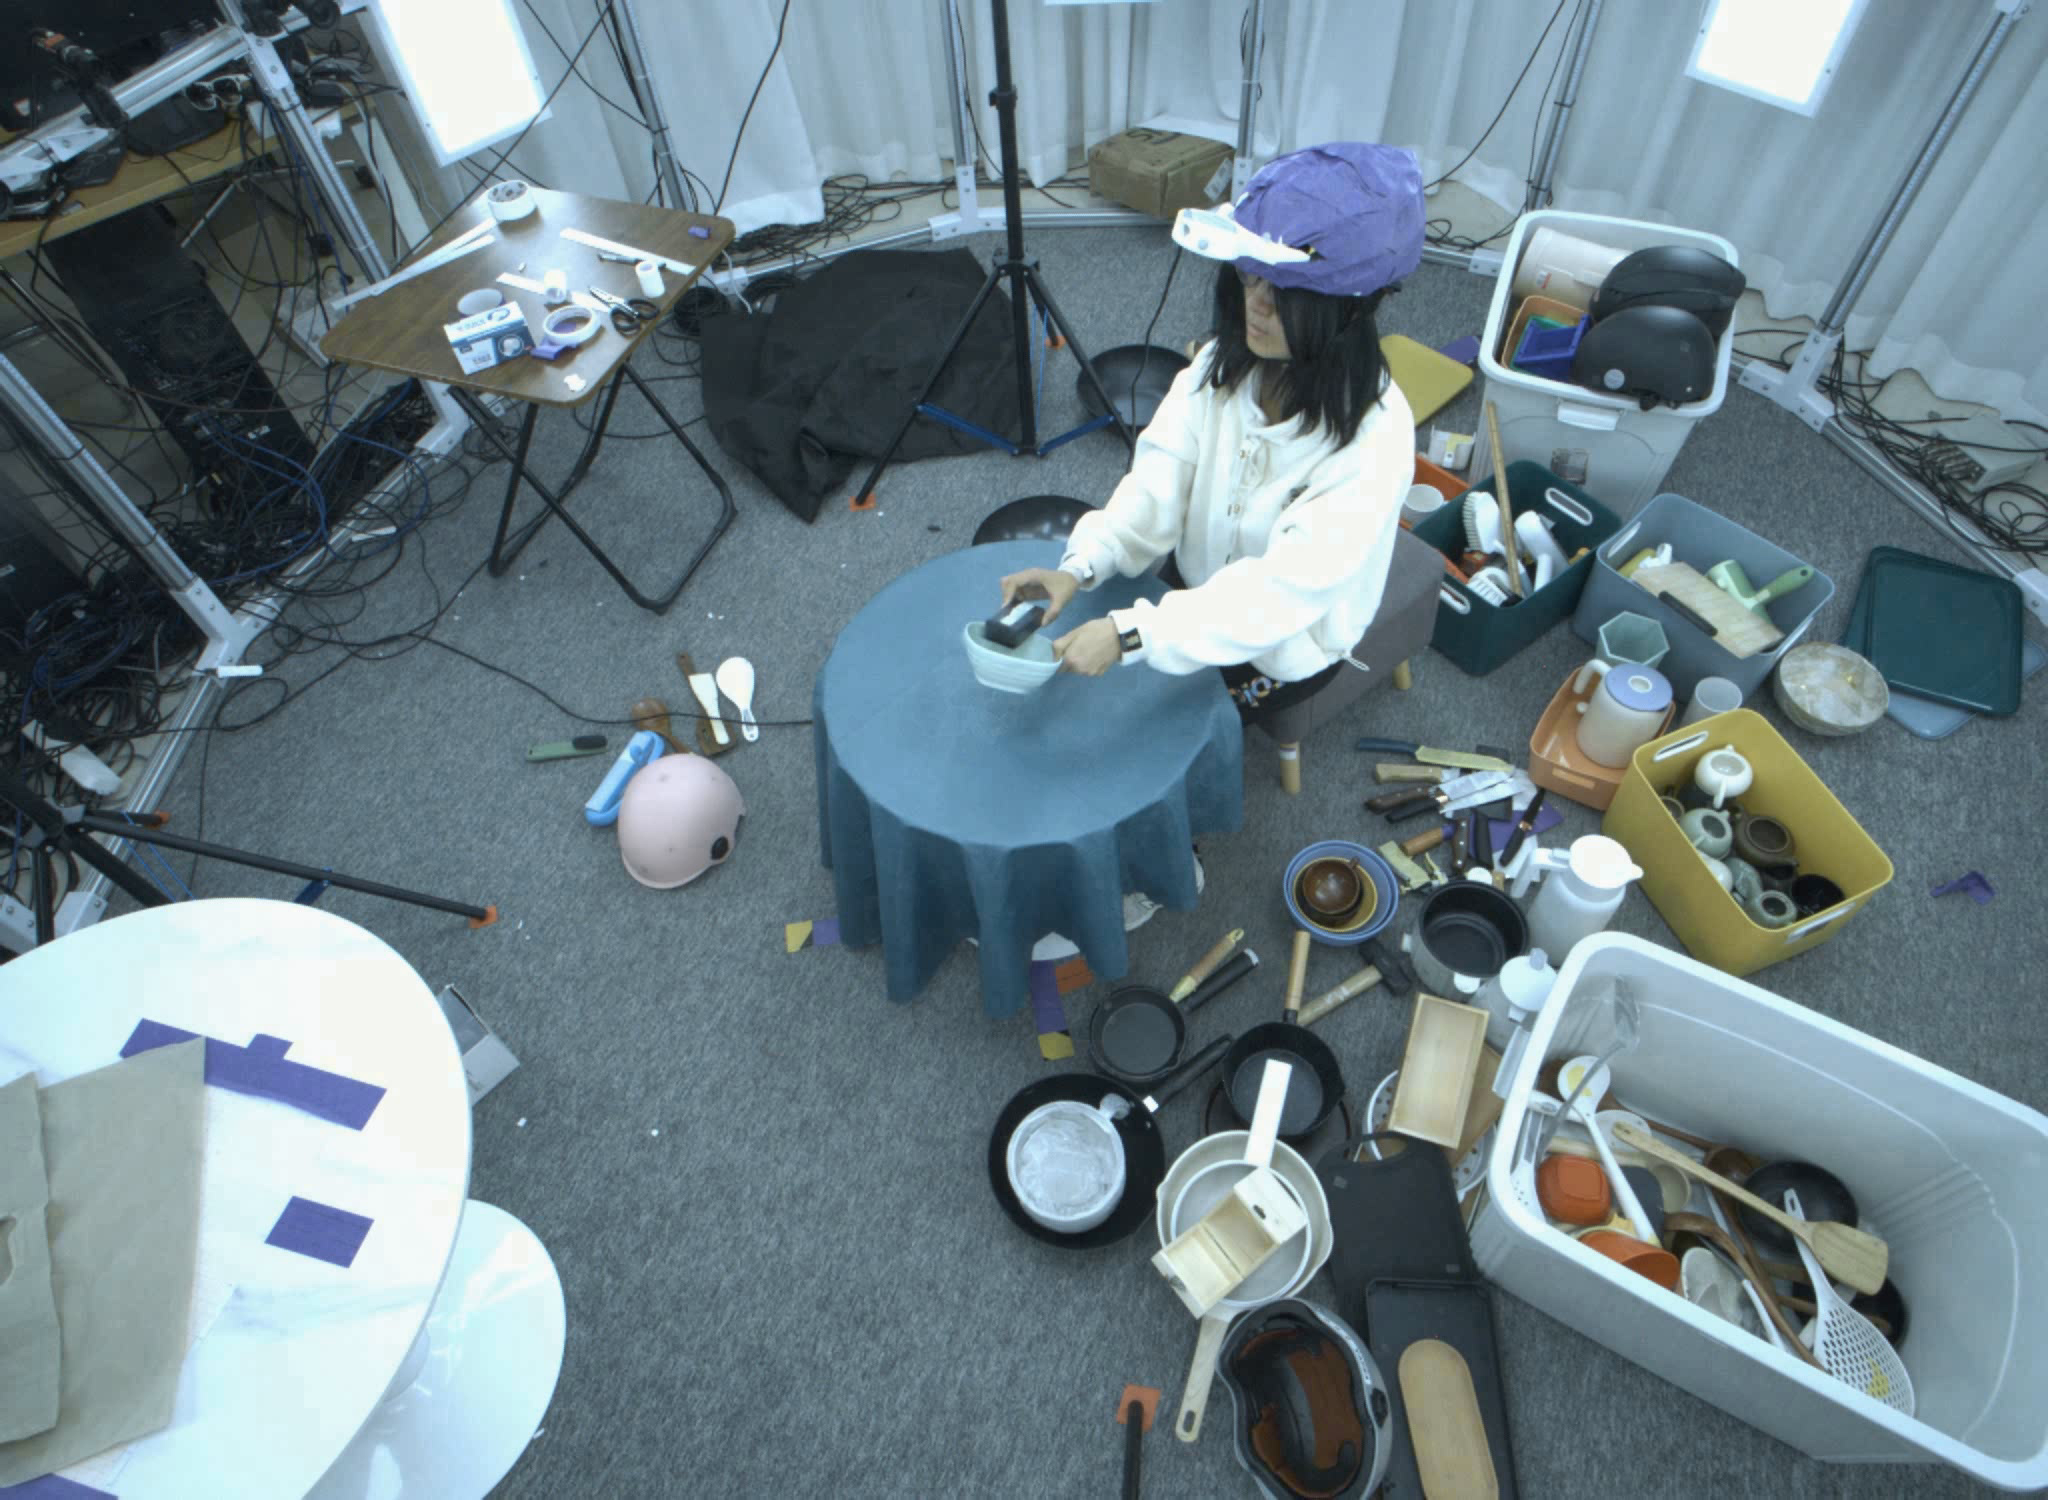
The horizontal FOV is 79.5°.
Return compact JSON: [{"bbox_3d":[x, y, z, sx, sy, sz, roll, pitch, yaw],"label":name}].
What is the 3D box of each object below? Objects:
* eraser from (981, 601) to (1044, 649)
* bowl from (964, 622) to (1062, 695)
[{"bbox_3d":[-0.016,-0.177,1.731,0.053,0.030,0.126,21,24,9],"label":"eraser"},{"bbox_3d":[-0.021,-0.122,1.707,0.152,0.059,0.150,14,25,-6],"label":"bowl"}]
